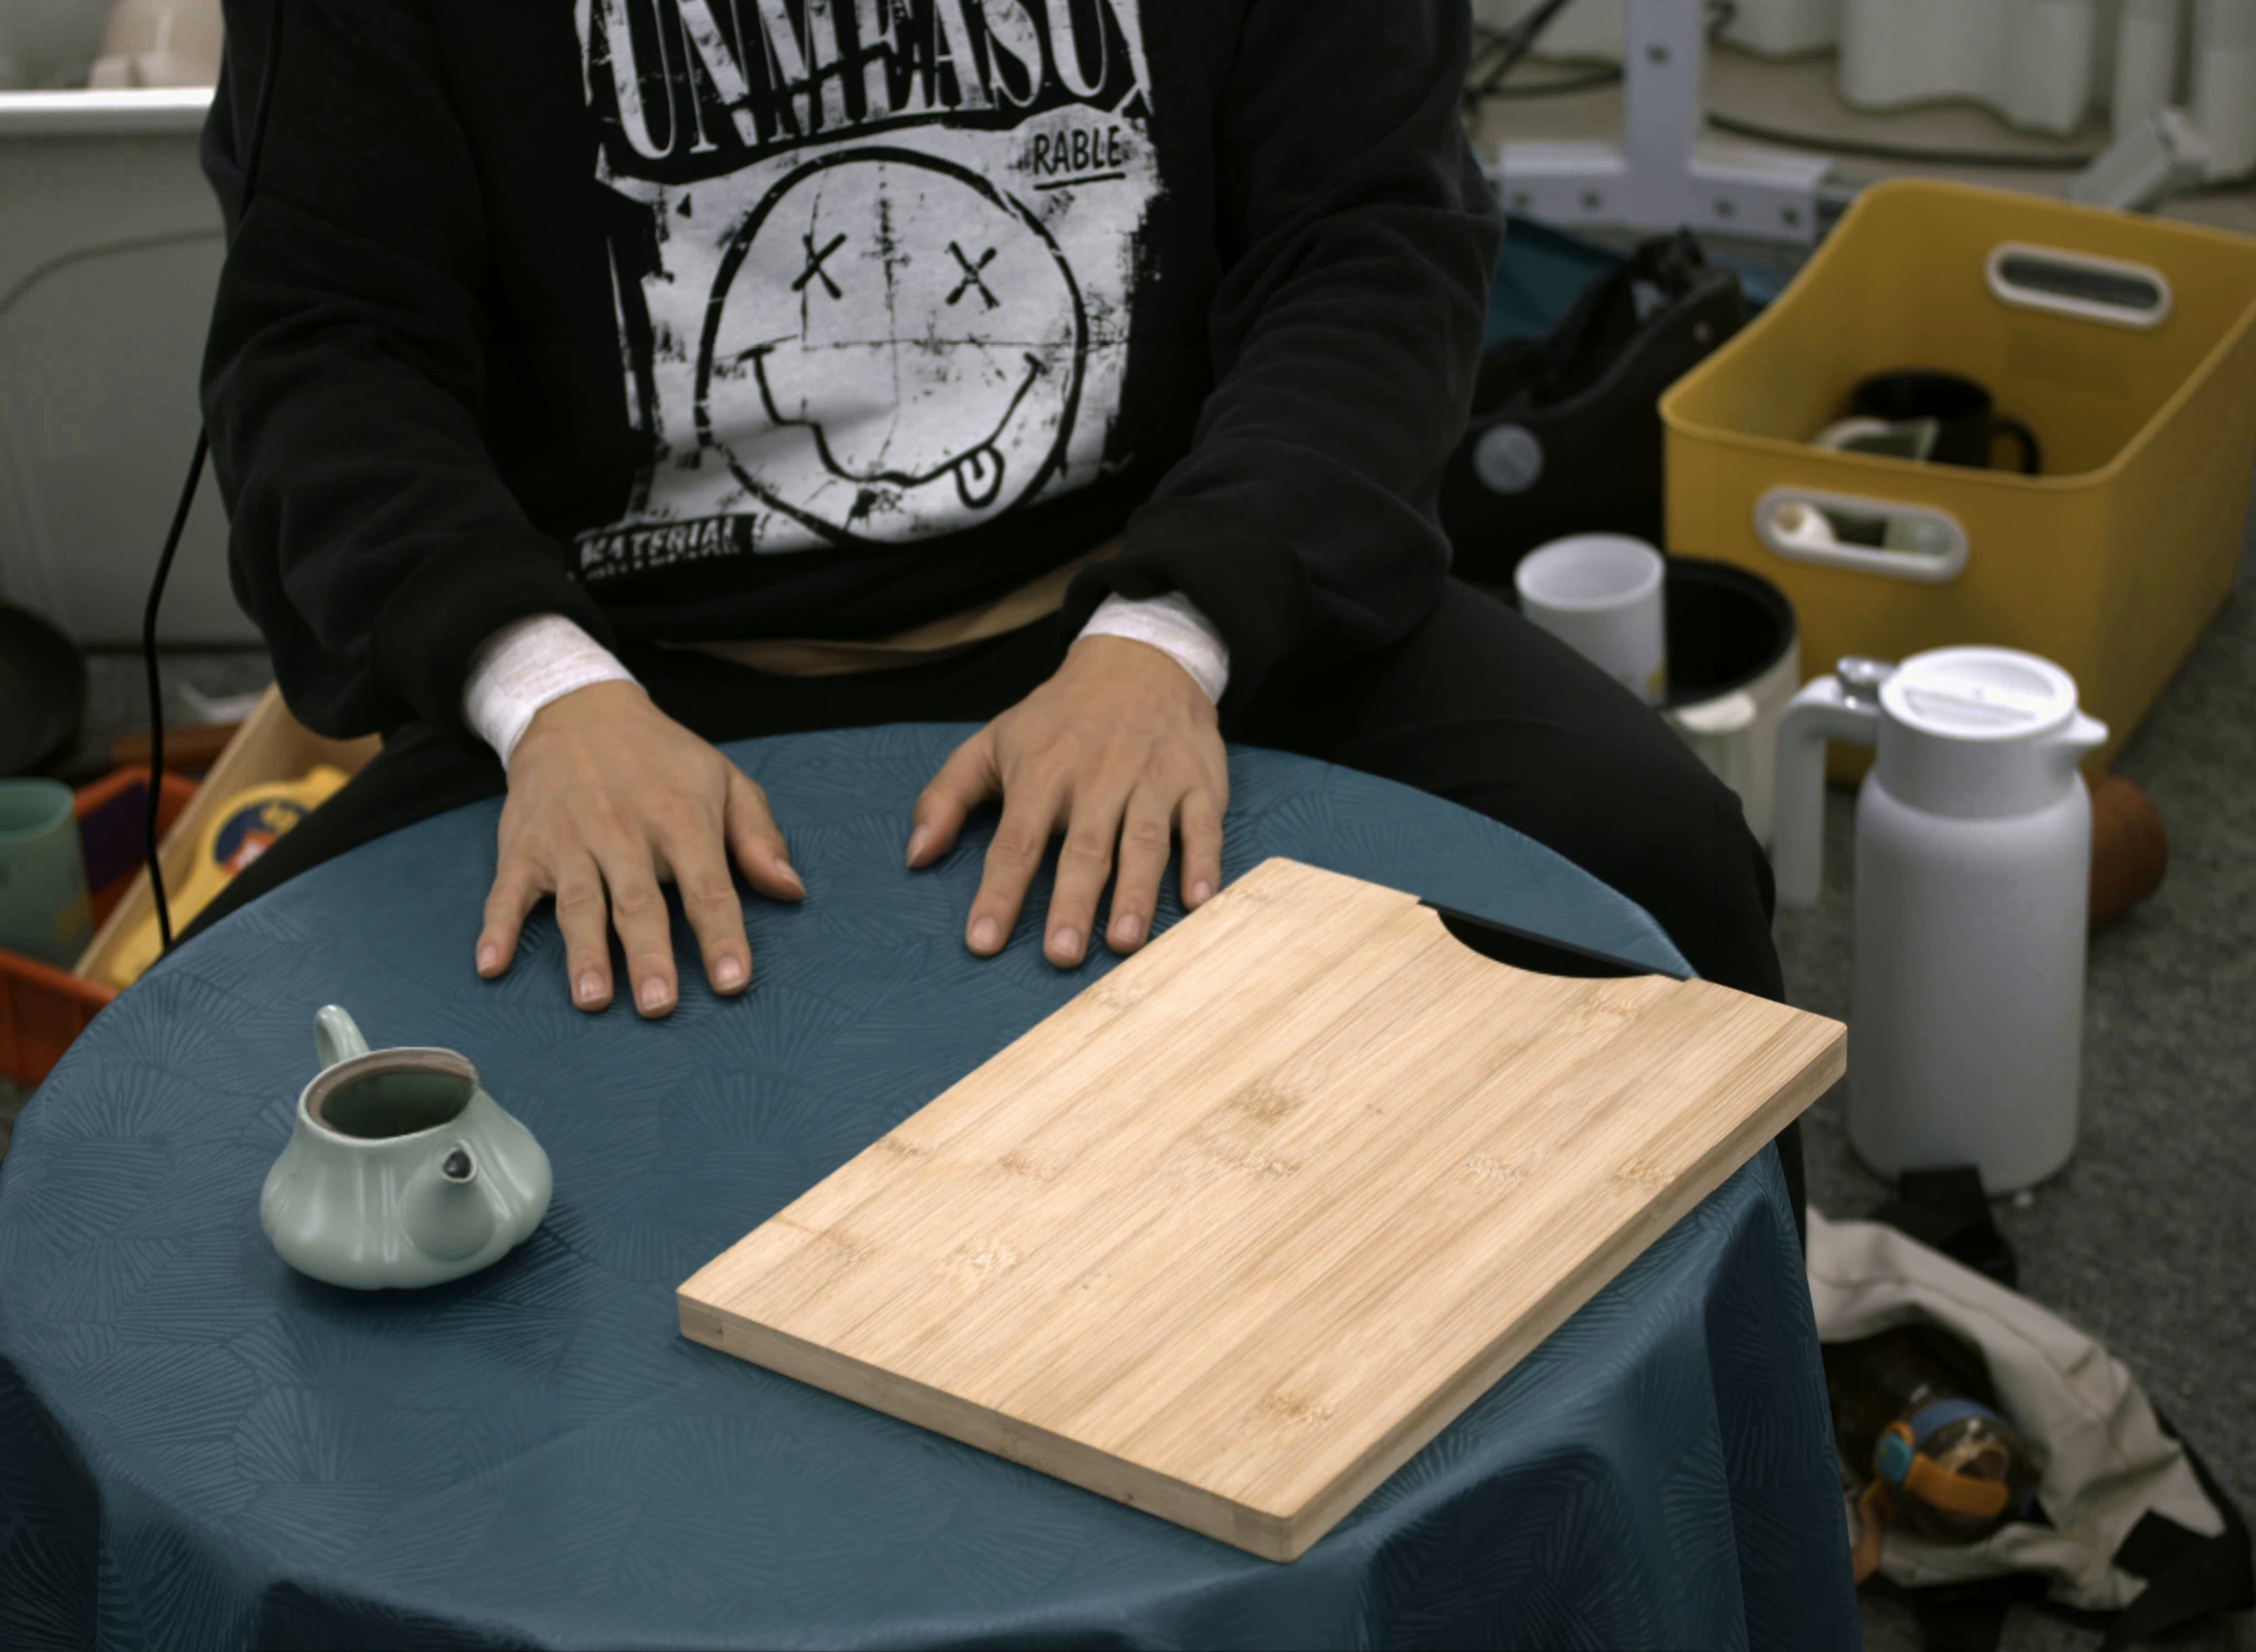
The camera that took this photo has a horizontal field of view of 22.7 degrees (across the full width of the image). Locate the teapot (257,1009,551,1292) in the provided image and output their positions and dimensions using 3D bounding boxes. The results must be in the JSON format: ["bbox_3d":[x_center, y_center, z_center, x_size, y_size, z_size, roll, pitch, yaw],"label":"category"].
[{"bbox_3d":[-0.241,0.109,1.841,0.097,0.061,0.137,-18,31,-25],"label":"teapot"}]

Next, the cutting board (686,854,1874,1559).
[{"bbox_3d":[0.054,0.114,1.850,0.249,0.023,0.354,15,32,31],"label":"cutting board"}]
